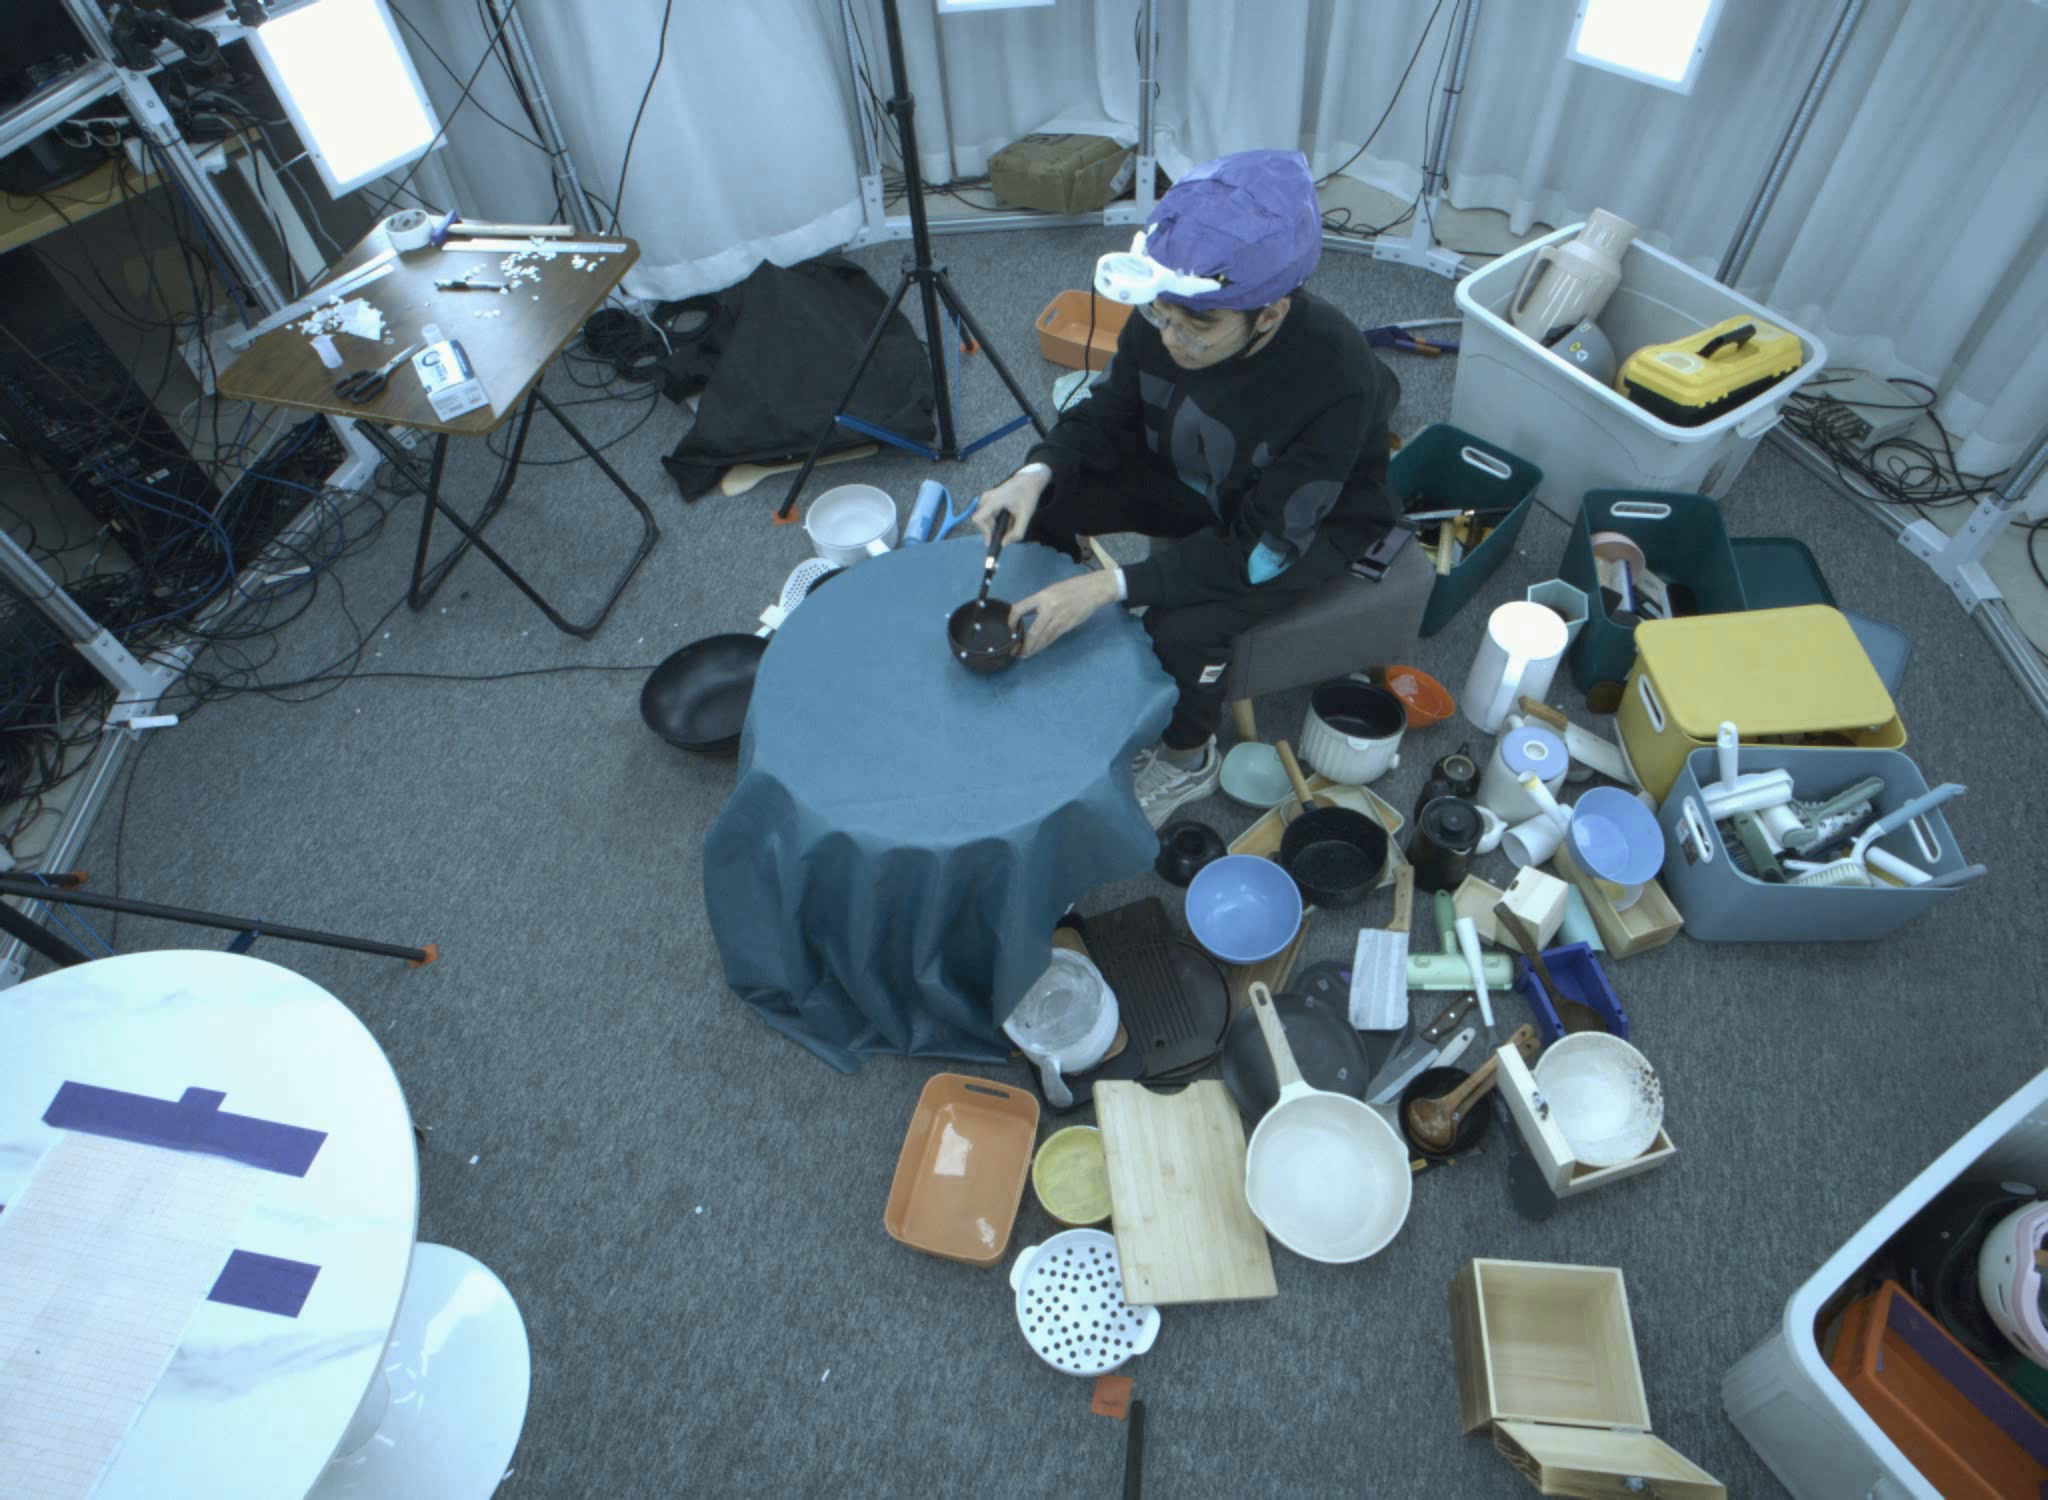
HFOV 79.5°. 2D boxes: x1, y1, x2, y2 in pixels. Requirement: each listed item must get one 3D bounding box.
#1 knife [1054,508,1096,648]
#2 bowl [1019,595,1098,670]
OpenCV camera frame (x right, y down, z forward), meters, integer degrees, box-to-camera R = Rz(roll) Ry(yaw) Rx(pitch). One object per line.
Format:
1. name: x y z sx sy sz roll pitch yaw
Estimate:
1. knife: 0.071 -0.258 1.830 0.026 0.017 0.225 18 78 -11
2. bowl: 0.052 -0.169 1.858 0.118 0.070 0.117 1 55 1
